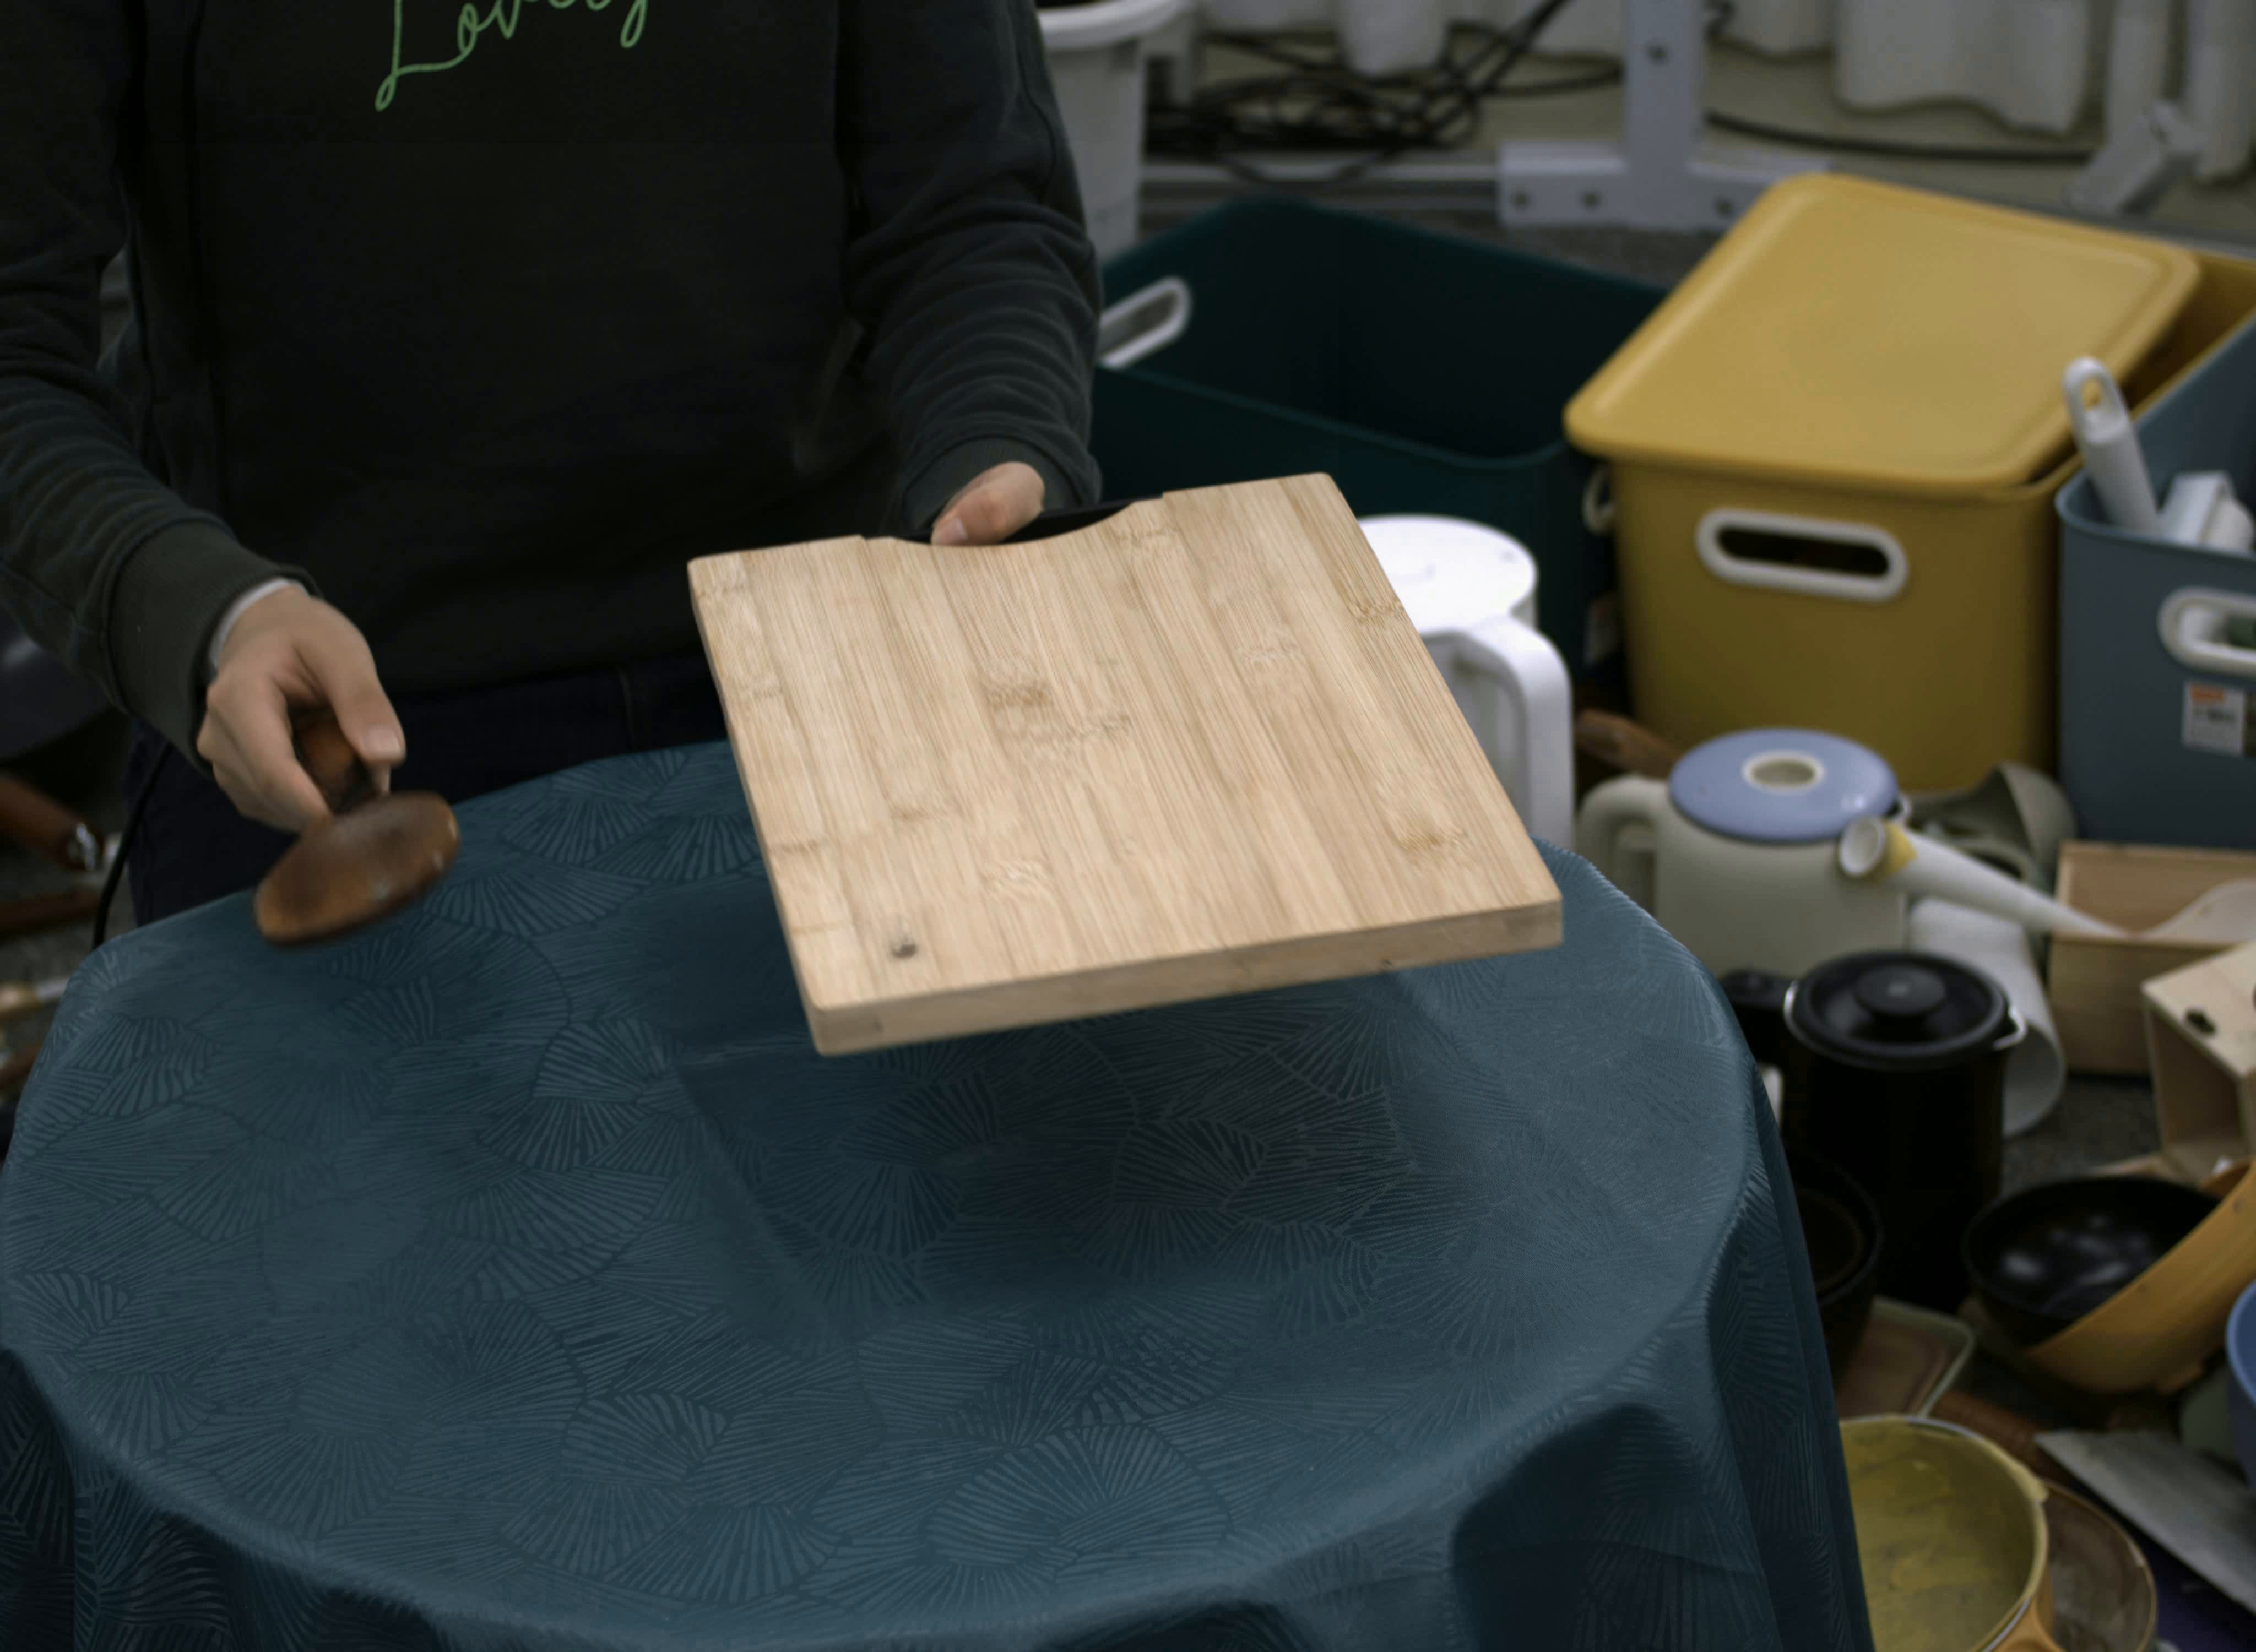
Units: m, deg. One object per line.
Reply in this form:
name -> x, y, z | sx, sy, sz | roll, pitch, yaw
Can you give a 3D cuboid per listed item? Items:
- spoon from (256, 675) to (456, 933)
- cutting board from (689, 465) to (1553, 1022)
spoon -> -0.259, -0.010, 1.868 | 0.075, 0.017, 0.217 | -30, 23, -1
cutting board -> -0.012, -0.034, 1.912 | 0.250, 0.023, 0.353 | -7, 27, -9
